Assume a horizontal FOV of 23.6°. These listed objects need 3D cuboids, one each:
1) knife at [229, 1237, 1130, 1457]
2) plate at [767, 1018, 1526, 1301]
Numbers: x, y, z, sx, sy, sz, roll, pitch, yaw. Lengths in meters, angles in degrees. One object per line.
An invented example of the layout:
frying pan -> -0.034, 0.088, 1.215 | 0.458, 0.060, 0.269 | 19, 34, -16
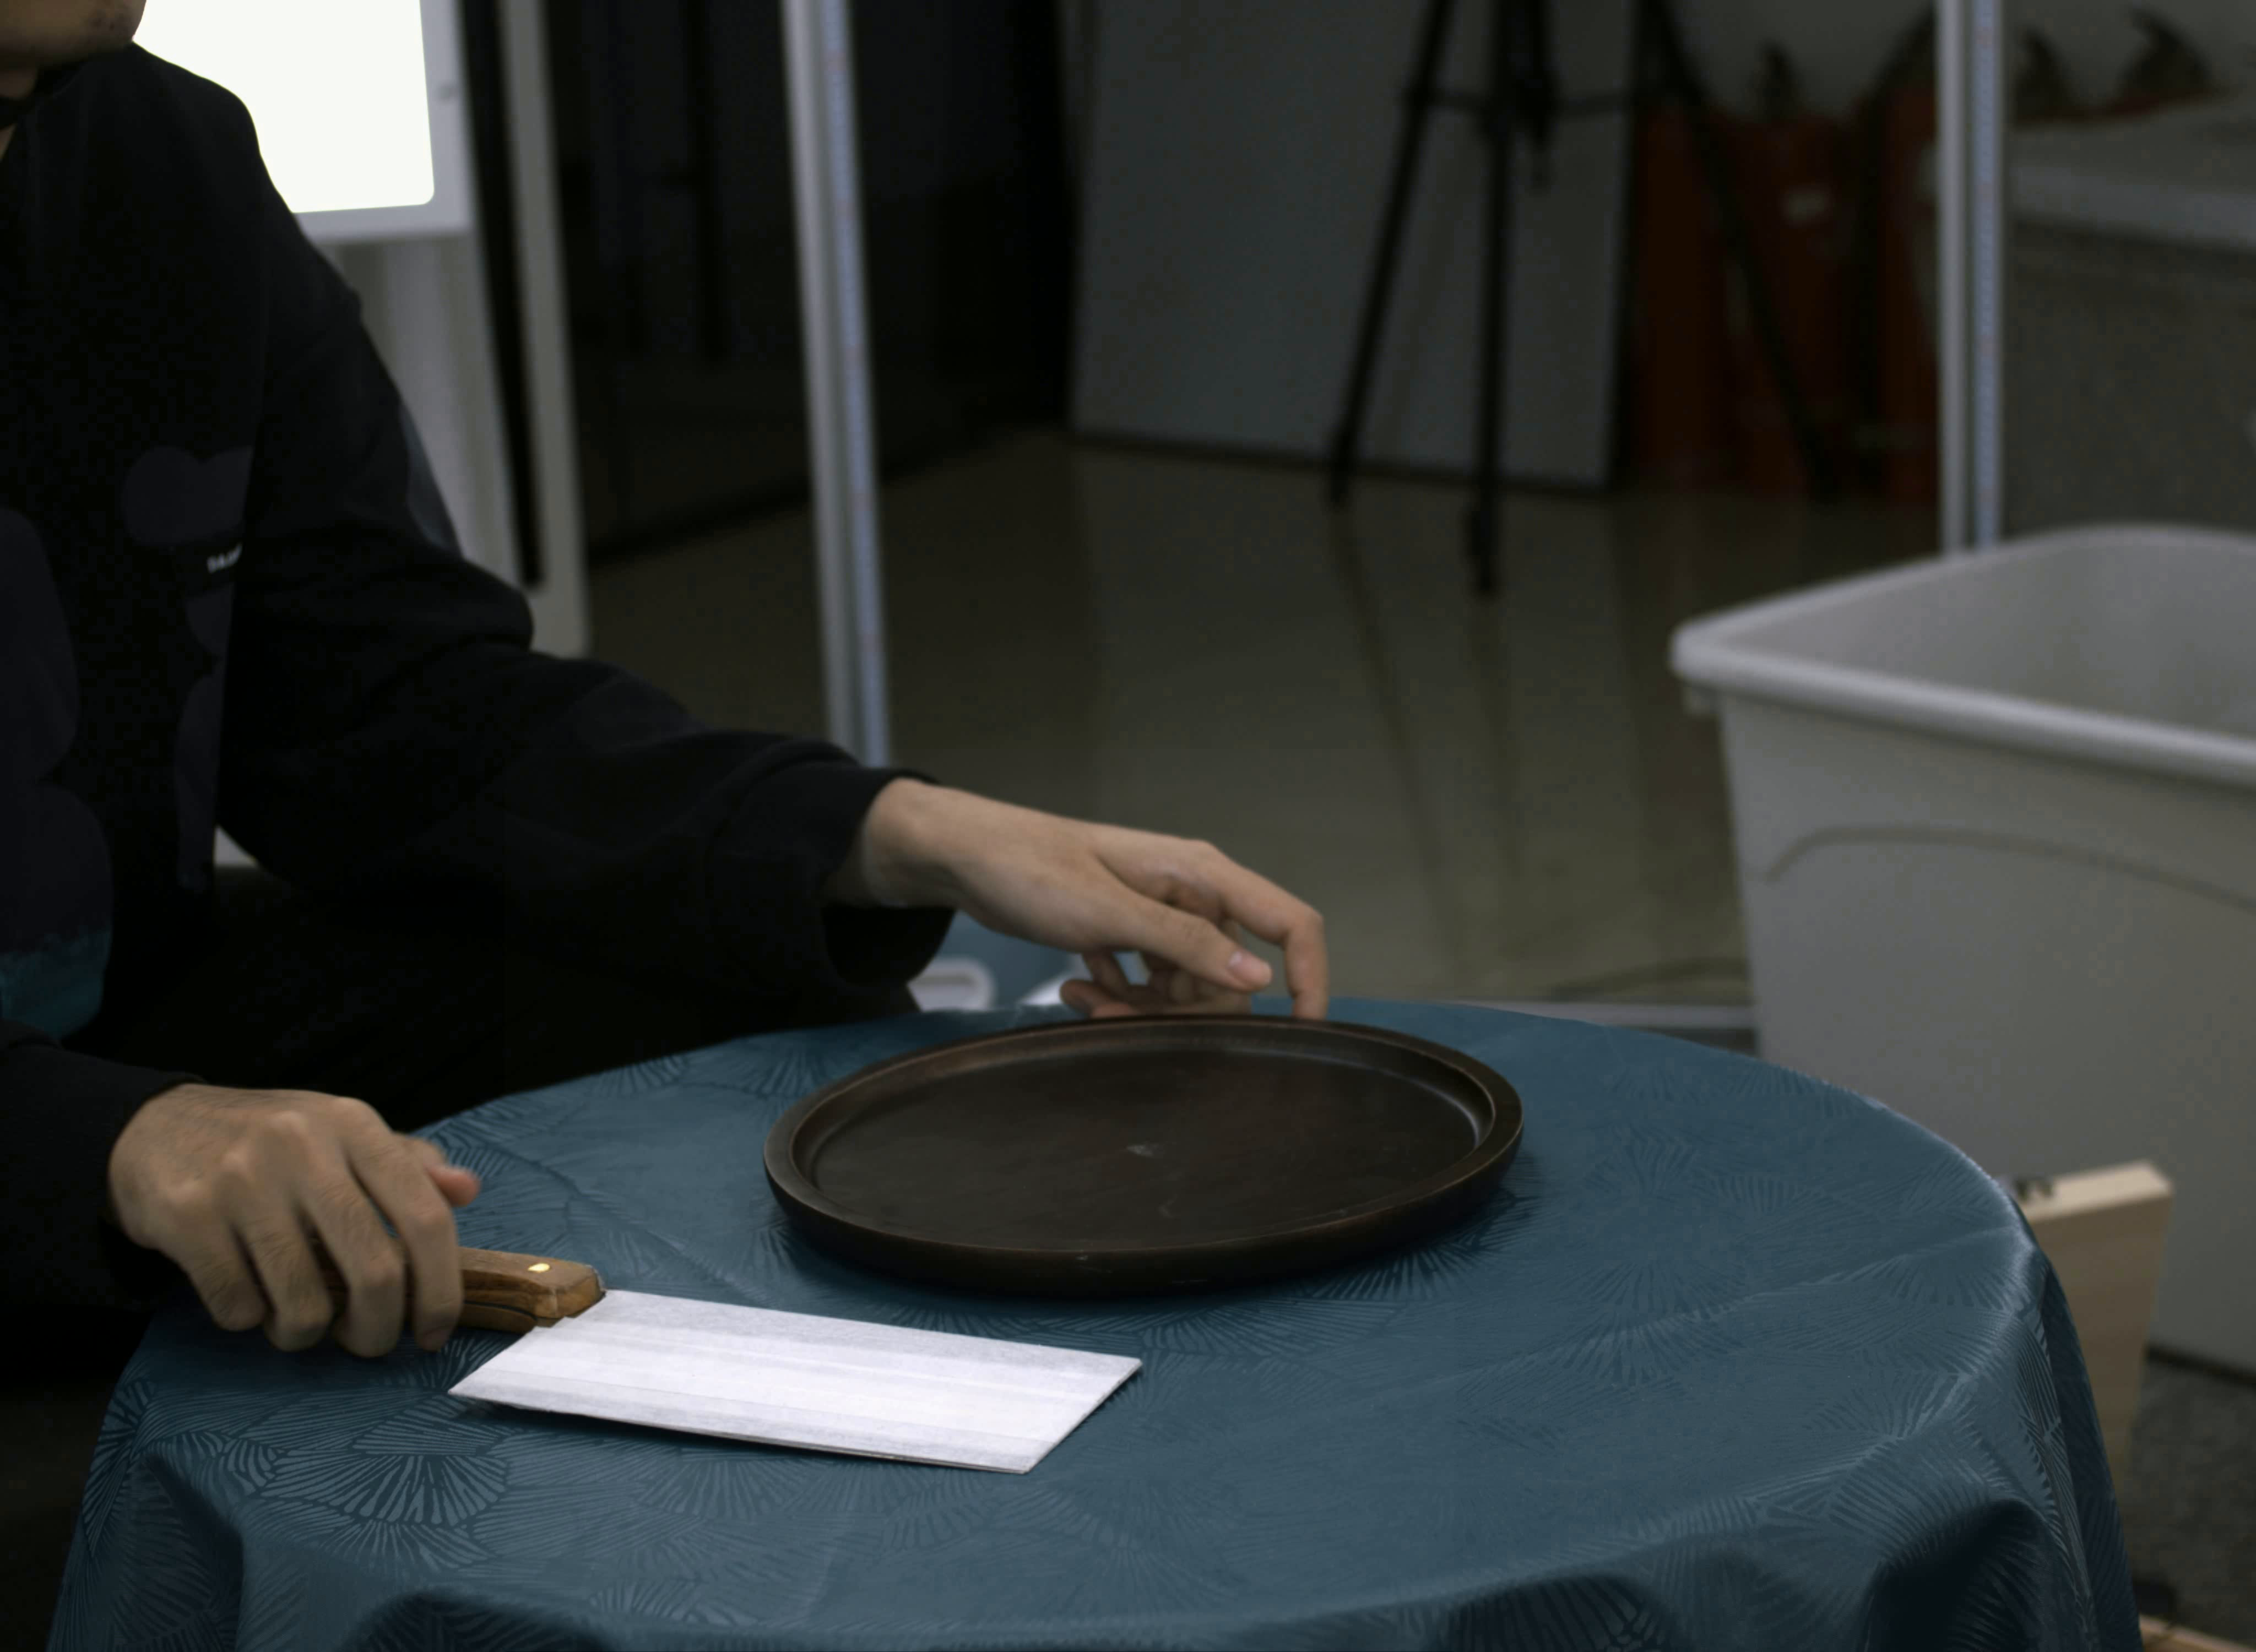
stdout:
knife -> -0.149, 0.160, 1.627 | 0.306, 0.021, 0.092 | 5, 17, 24
plate -> 0.006, 0.107, 1.772 | 0.251, 0.029, 0.255 | -3, 13, 0
